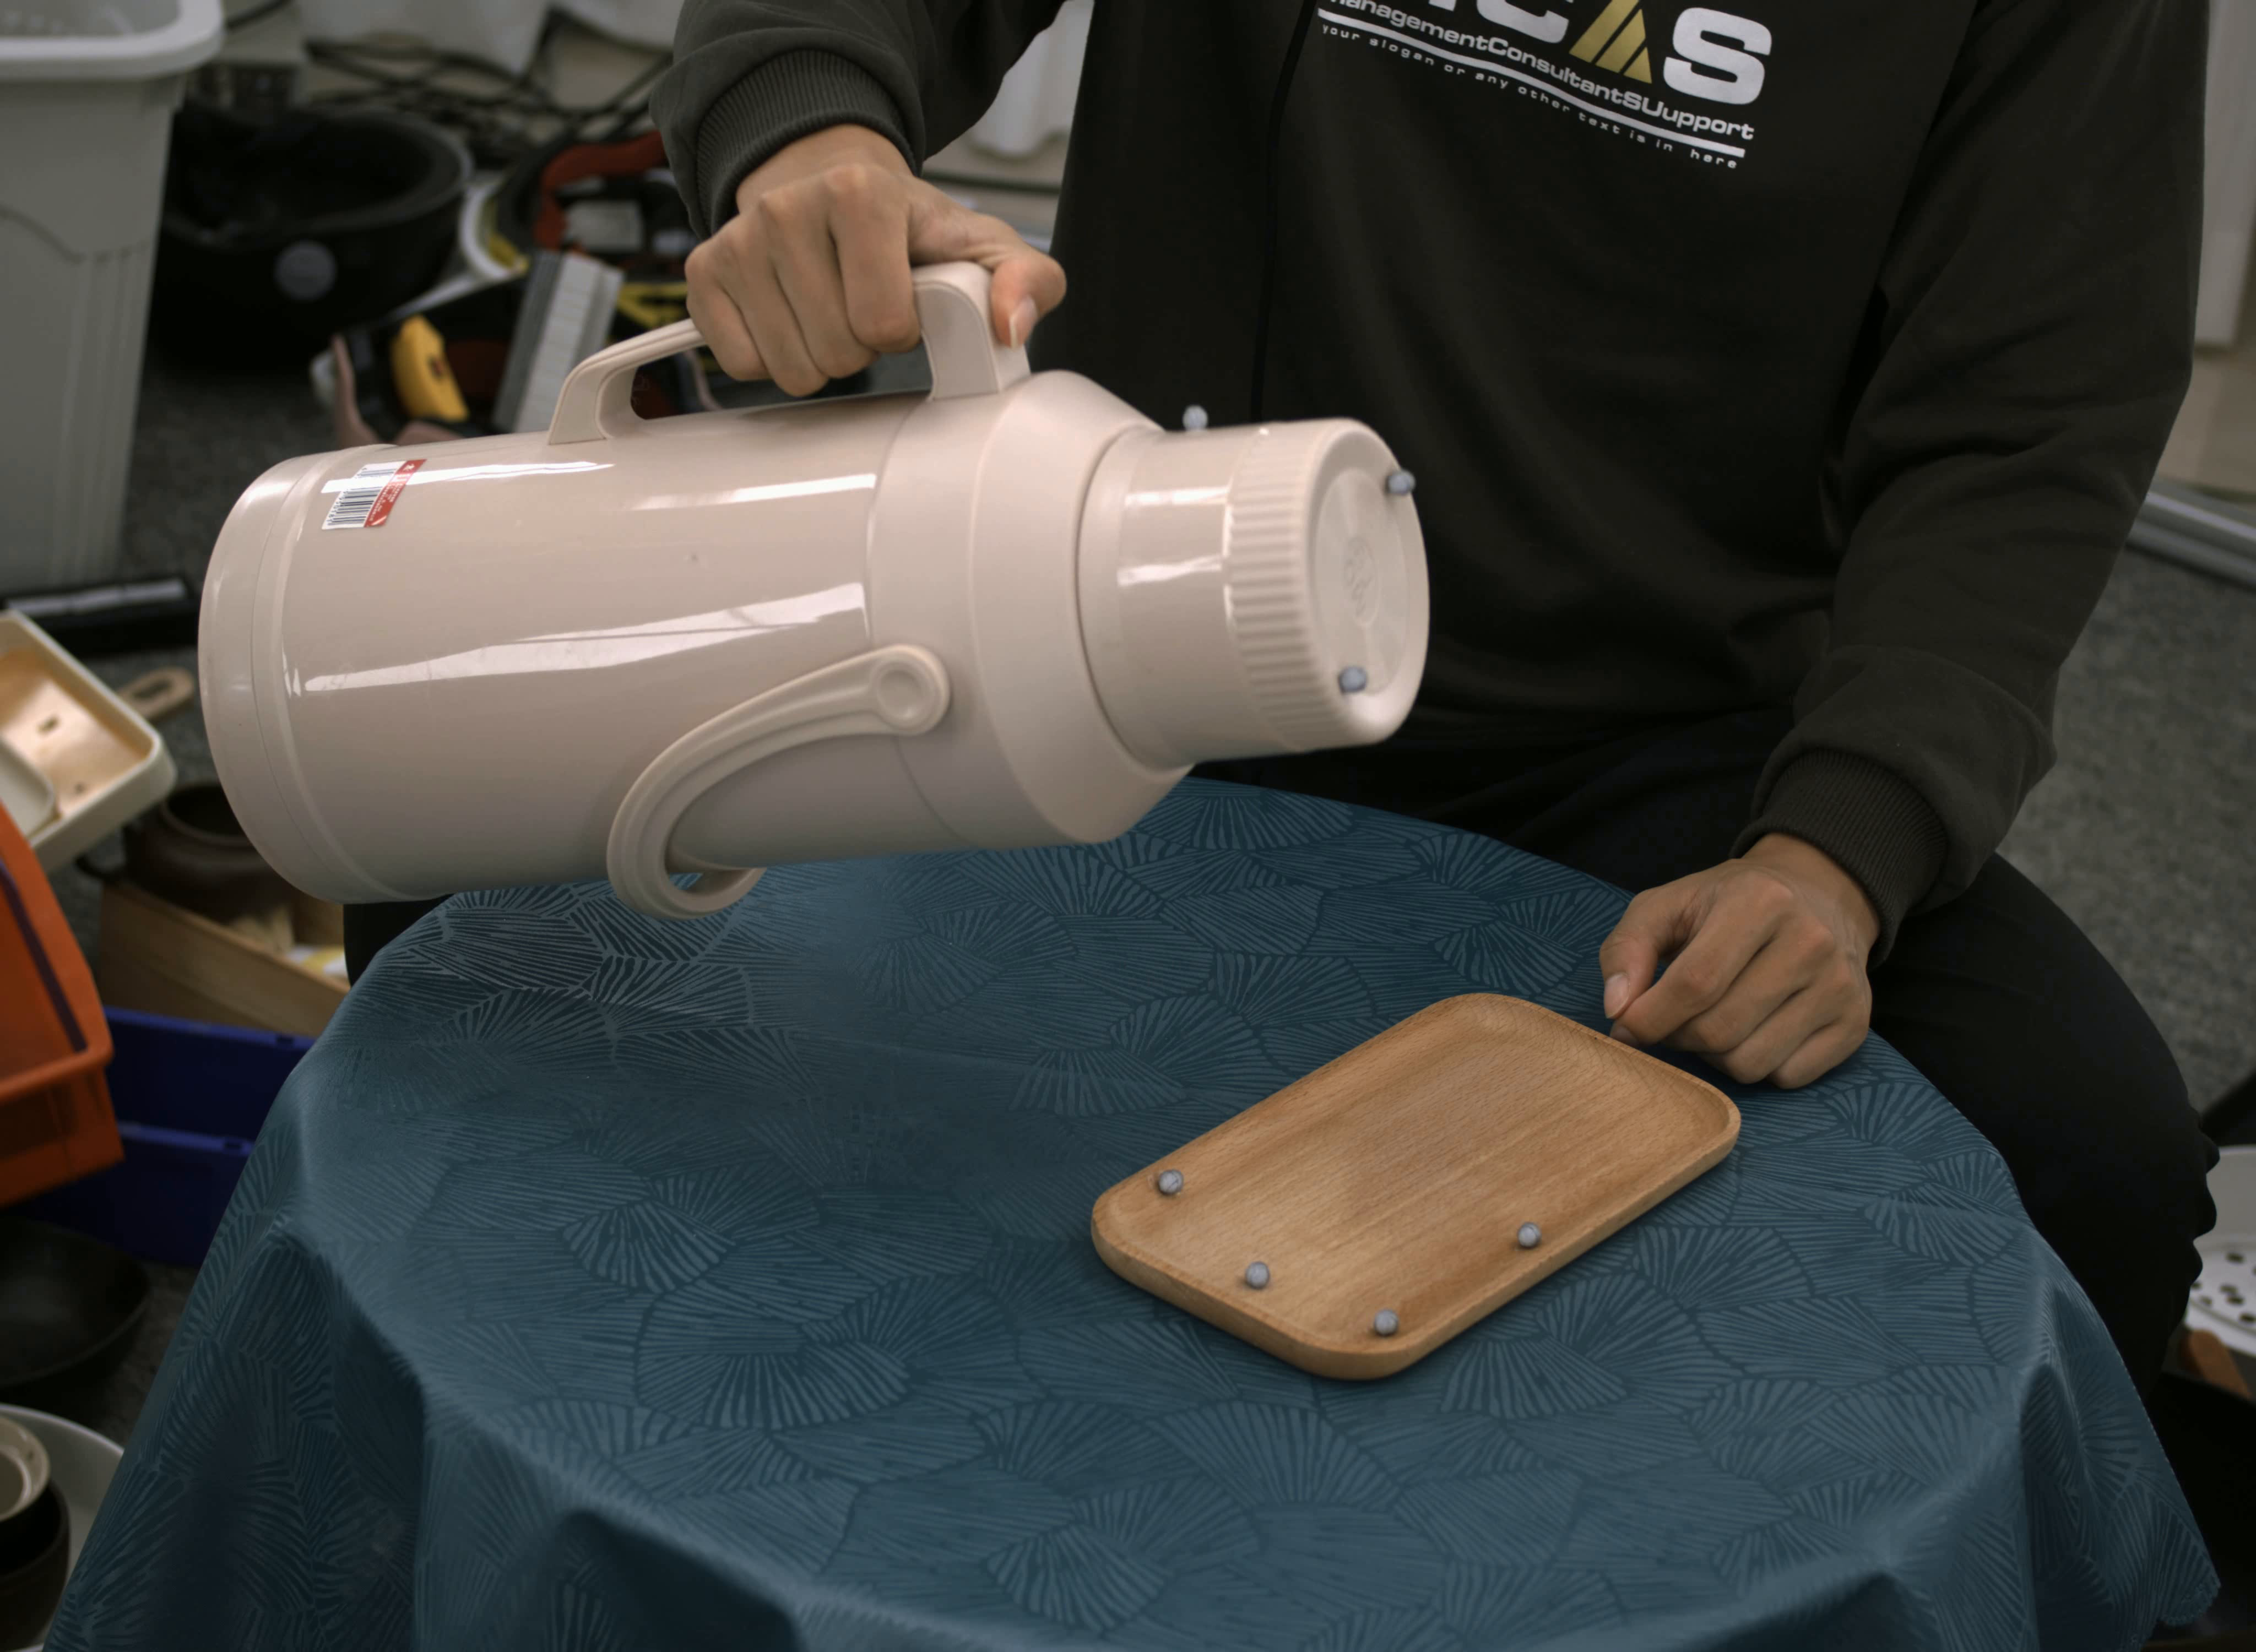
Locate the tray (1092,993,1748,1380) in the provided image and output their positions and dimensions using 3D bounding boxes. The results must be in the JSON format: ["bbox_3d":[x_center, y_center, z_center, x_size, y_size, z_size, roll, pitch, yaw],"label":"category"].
[{"bbox_3d":[0.102,0.121,1.819,0.131,0.023,0.250,27,32,30],"label":"tray"}]

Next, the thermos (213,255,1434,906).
[{"bbox_3d":[-0.104,-0.080,1.789,0.407,0.206,0.175,-5,17,28],"label":"thermos"}]
